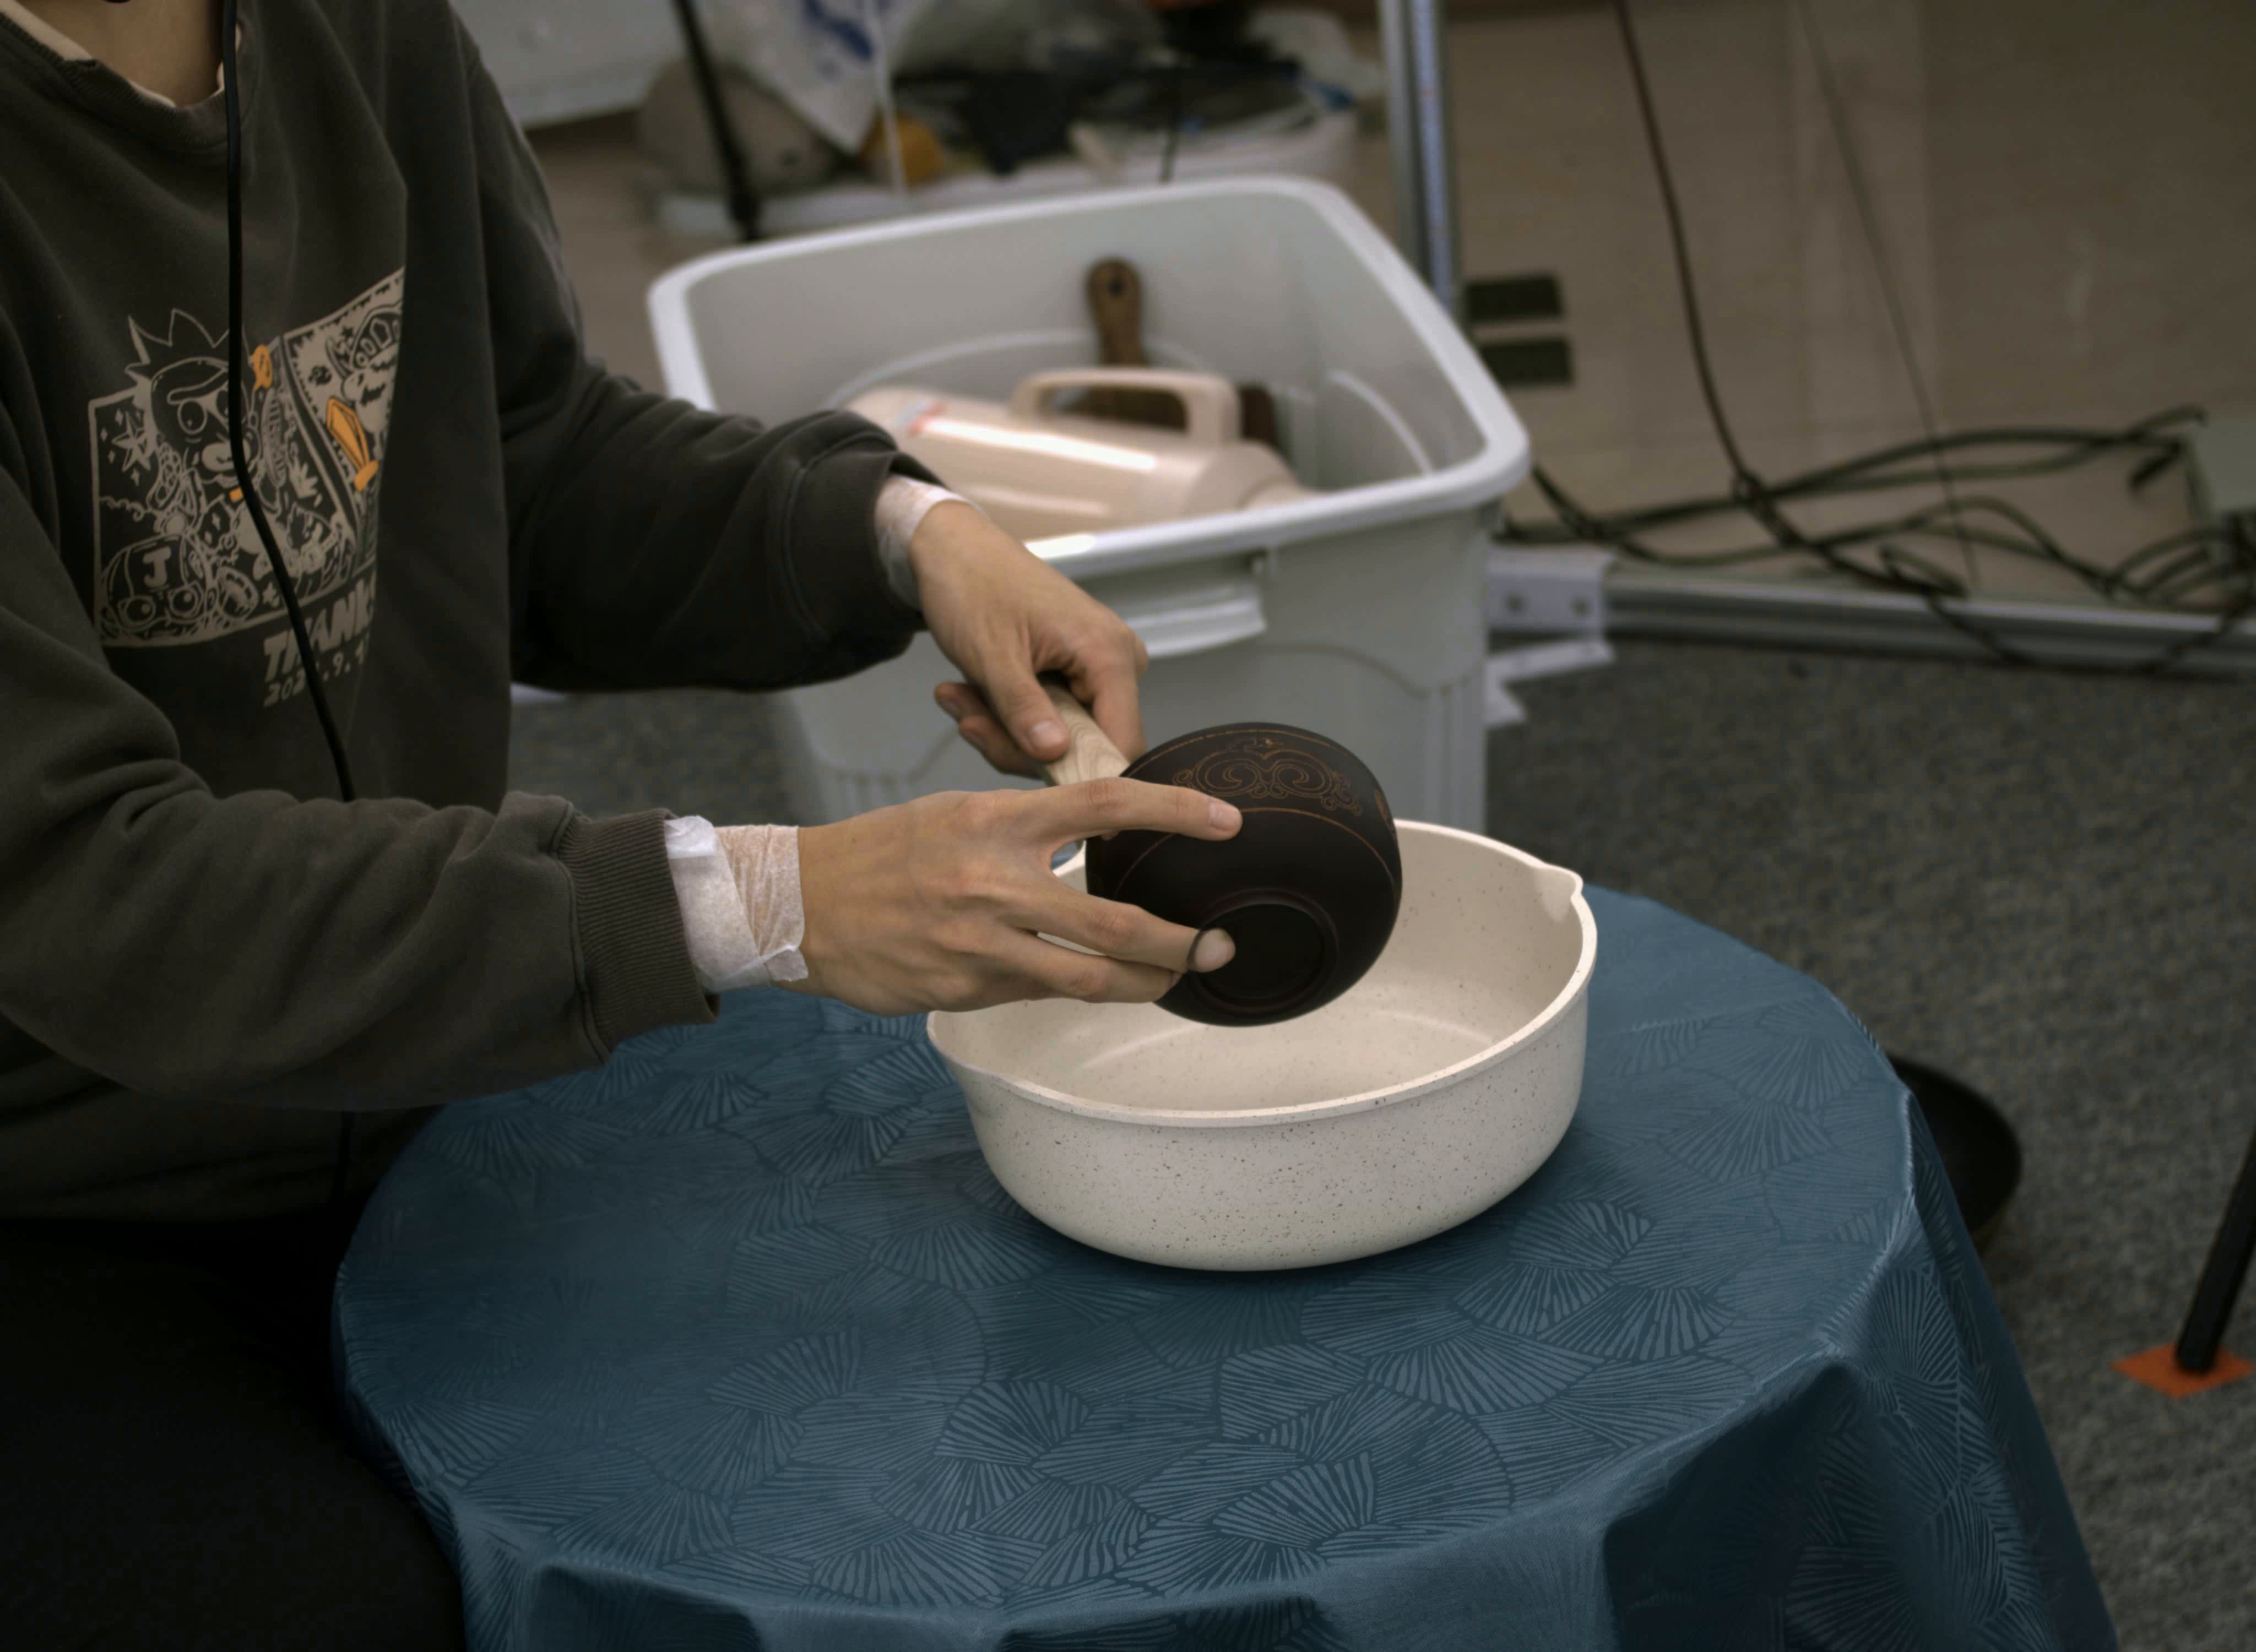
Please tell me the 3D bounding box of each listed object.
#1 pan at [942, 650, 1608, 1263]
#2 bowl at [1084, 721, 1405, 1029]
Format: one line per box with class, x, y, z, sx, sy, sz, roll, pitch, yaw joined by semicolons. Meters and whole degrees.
pan;0.026;0.045;2.224;0.262;0.103;0.429;-17;26;-16
bowl;0.045;0.027;2.072;0.118;0.120;0.068;-8;42;-3
